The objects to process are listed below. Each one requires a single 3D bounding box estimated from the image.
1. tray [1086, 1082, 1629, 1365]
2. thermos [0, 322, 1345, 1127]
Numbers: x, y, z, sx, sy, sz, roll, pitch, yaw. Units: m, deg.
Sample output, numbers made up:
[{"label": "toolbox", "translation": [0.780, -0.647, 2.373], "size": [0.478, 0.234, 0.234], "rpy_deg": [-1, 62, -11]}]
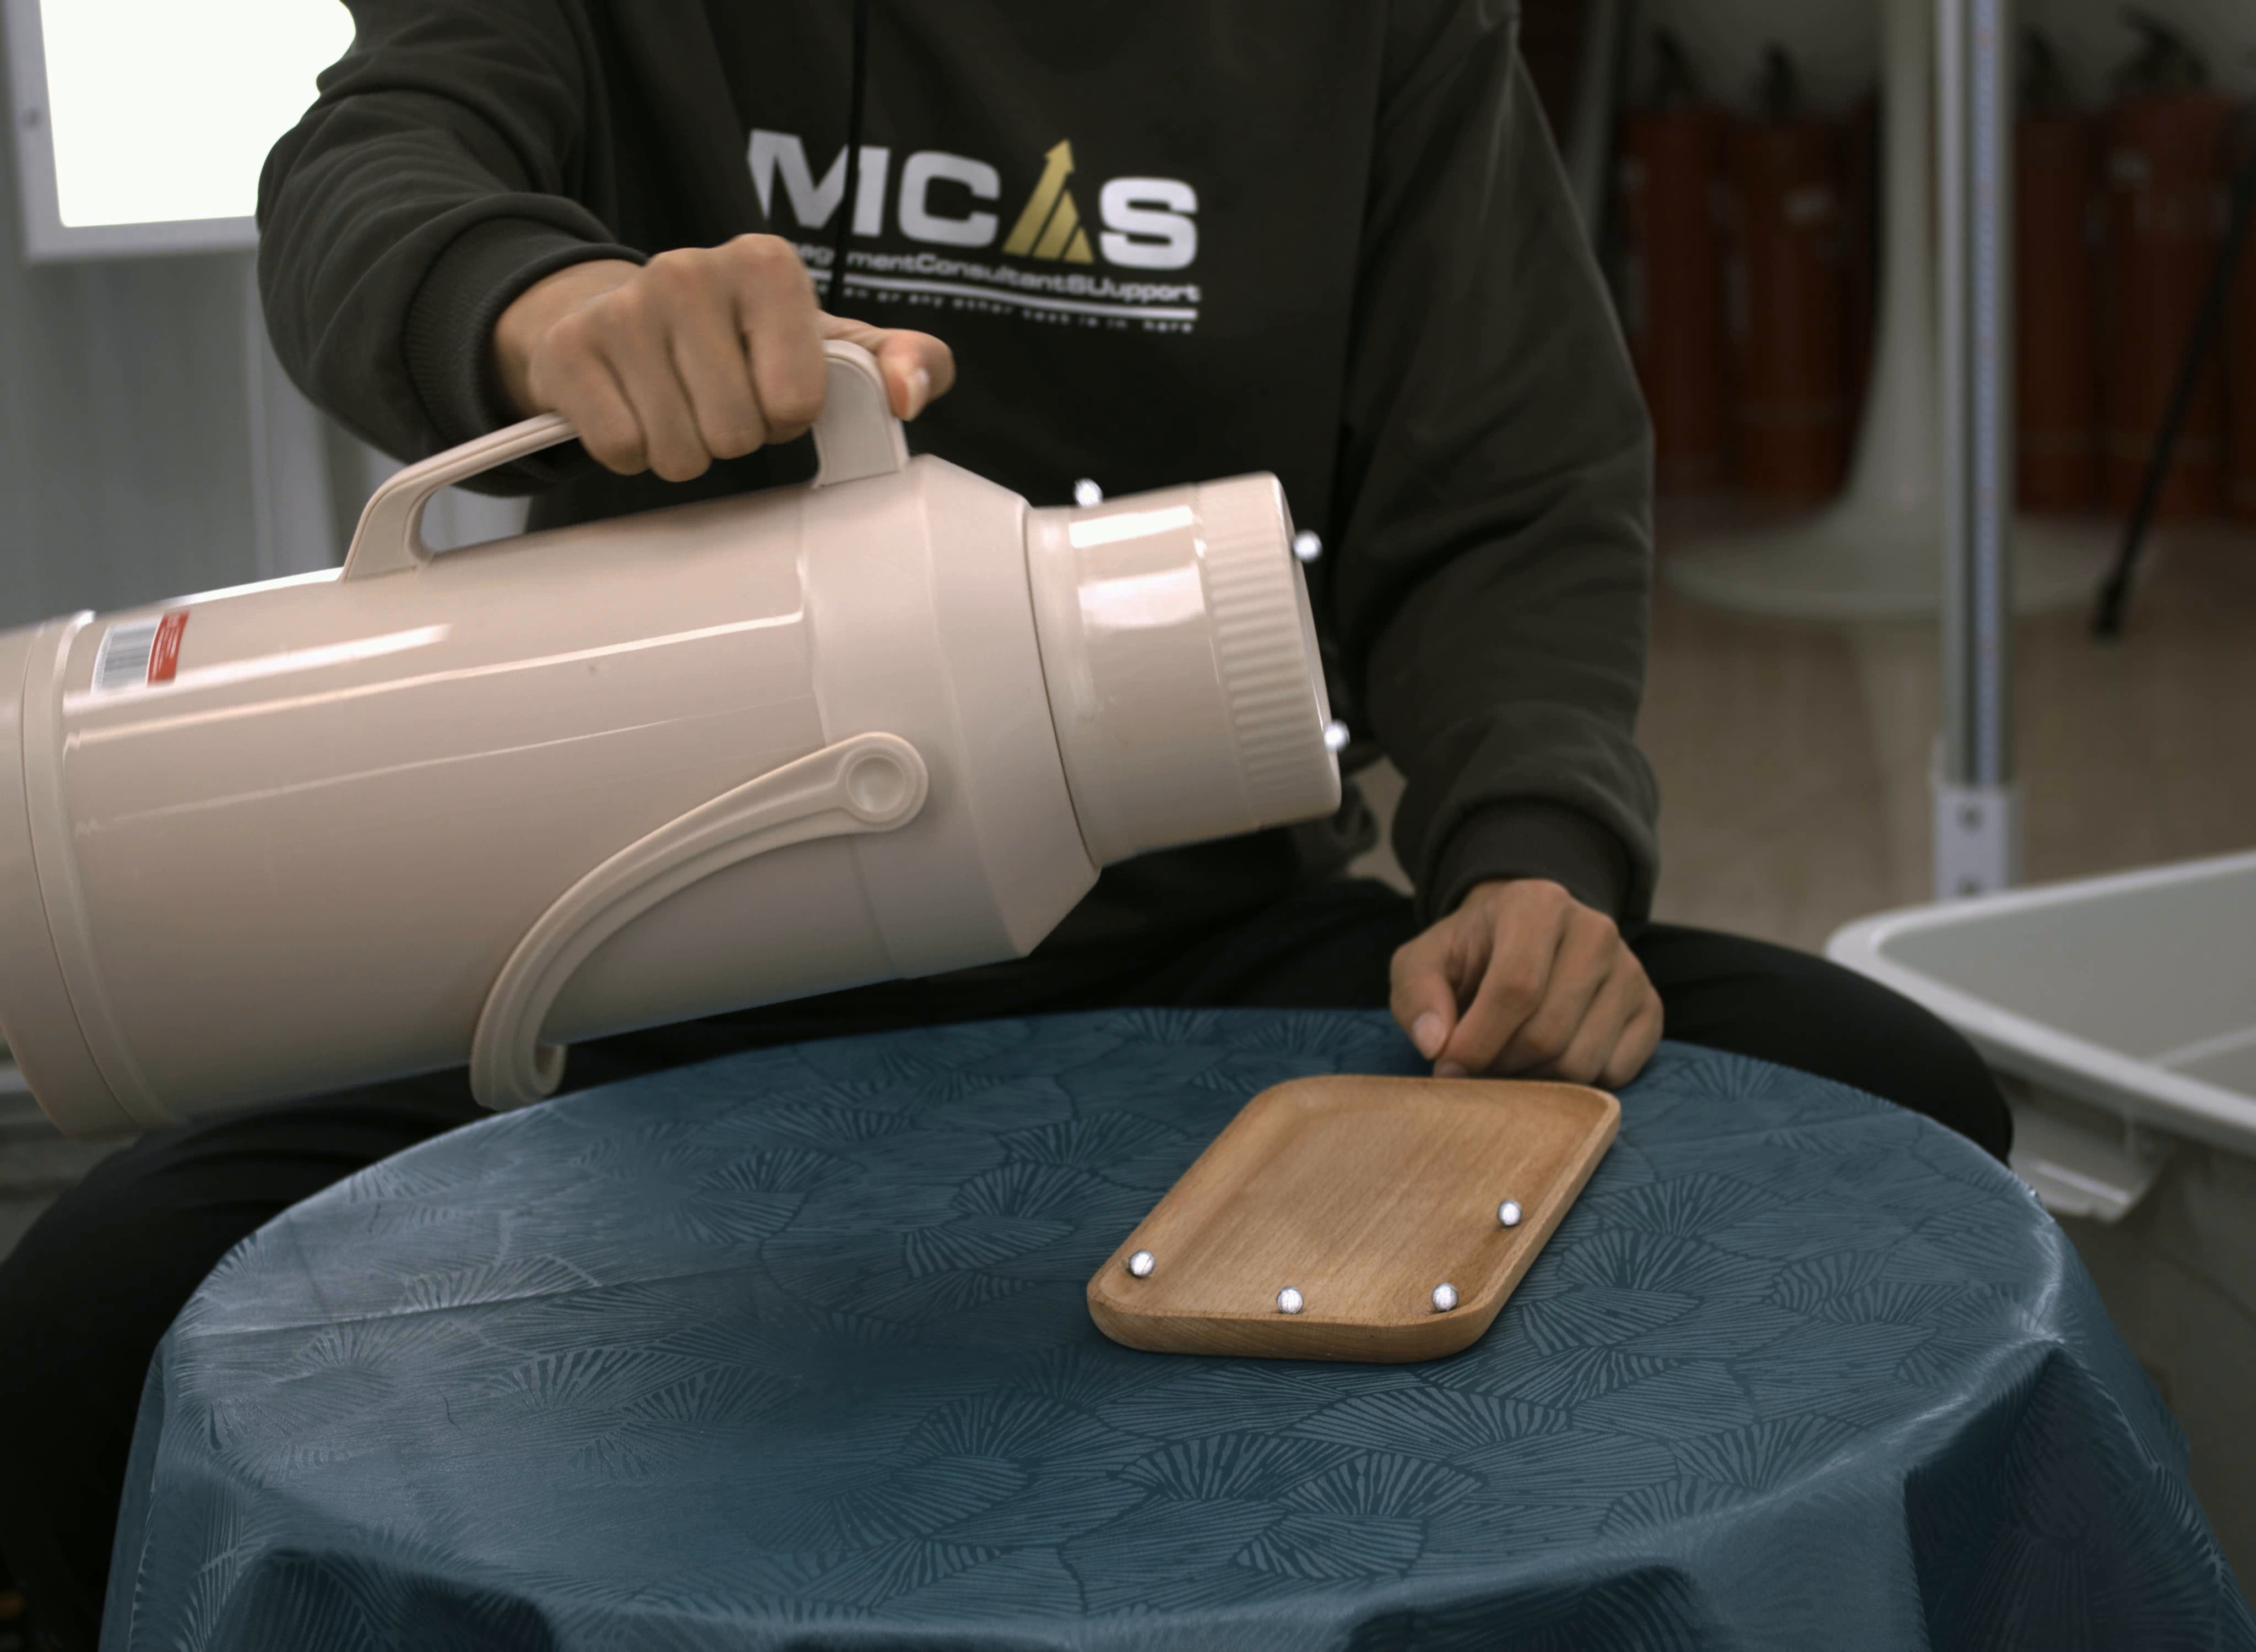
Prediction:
[{"label": "tray", "translation": [0.077, 0.124, 1.712], "size": [0.130, 0.023, 0.248], "rpy_deg": [3, 14, 18]}, {"label": "thermos", "translation": [-0.142, -0.035, 1.635], "size": [0.403, 0.209, 0.175], "rpy_deg": [-10, 12, 7]}]
